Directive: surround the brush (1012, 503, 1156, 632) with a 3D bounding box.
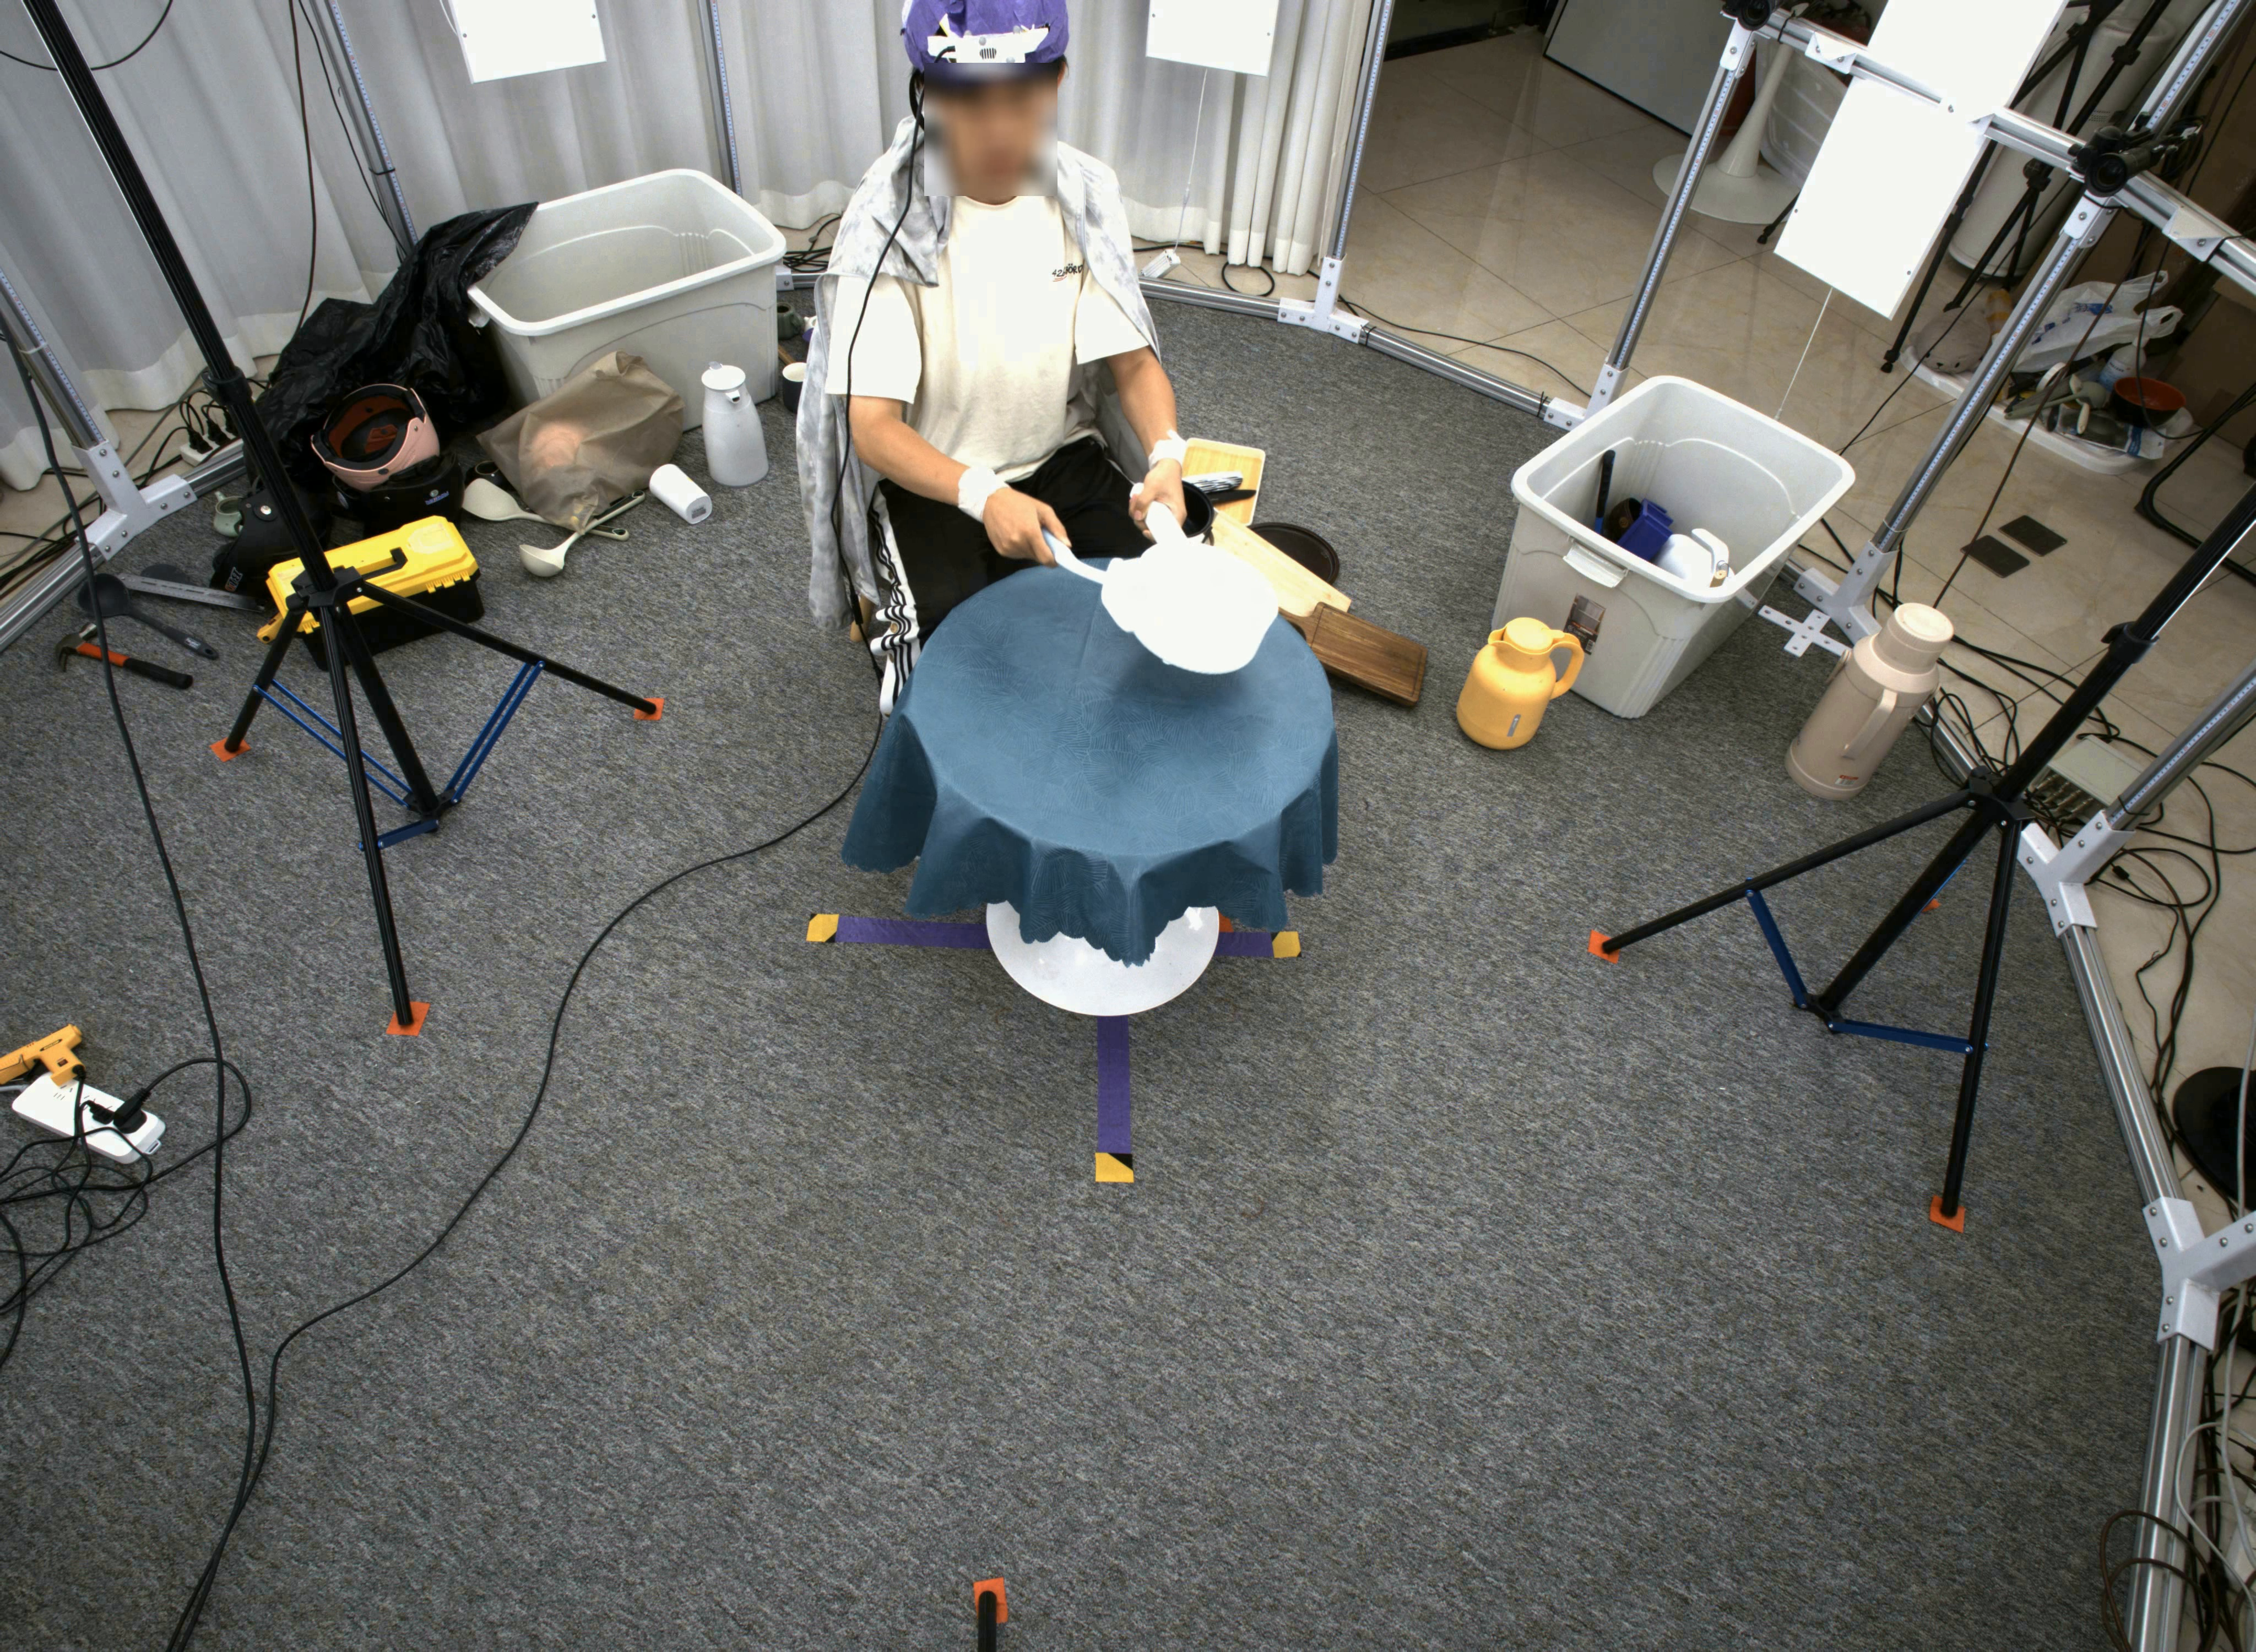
[{"bbox_3d":[-0.047,-0.365,1.764,0.083,0.083,0.332,-45,51,6],"label":"brush"}]

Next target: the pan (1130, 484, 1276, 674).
[{"bbox_3d":[0.070,-0.352,1.835,0.200,0.100,0.363,-1,44,-26],"label":"pan"}]
